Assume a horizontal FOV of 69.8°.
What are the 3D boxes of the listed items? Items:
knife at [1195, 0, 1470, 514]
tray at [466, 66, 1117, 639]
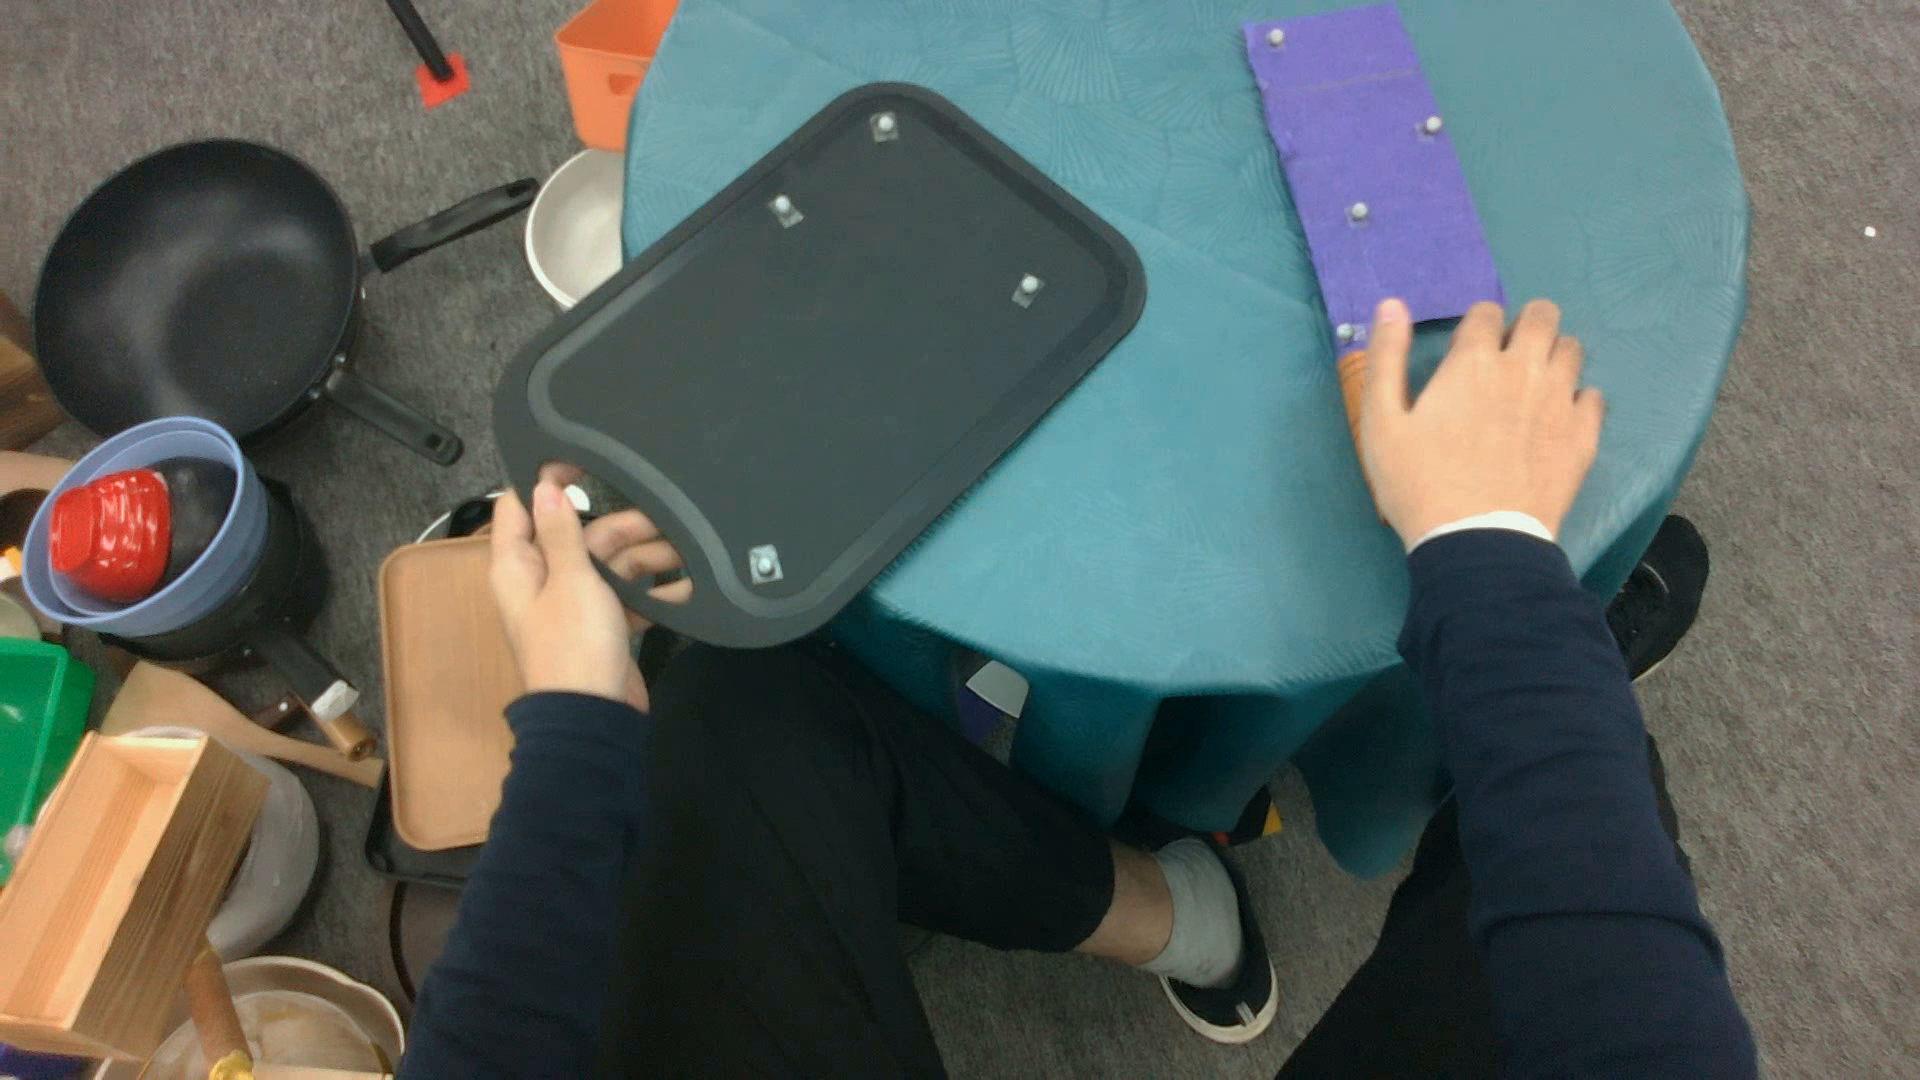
[{"bbox_3d":[0.209,-0.166,0.716,0.104,0.032,0.316,-9,68,-3],"label":"knife"},{"bbox_3d":[-0.083,-0.102,0.691,0.211,0.010,0.326,42,71,12],"label":"tray"}]
